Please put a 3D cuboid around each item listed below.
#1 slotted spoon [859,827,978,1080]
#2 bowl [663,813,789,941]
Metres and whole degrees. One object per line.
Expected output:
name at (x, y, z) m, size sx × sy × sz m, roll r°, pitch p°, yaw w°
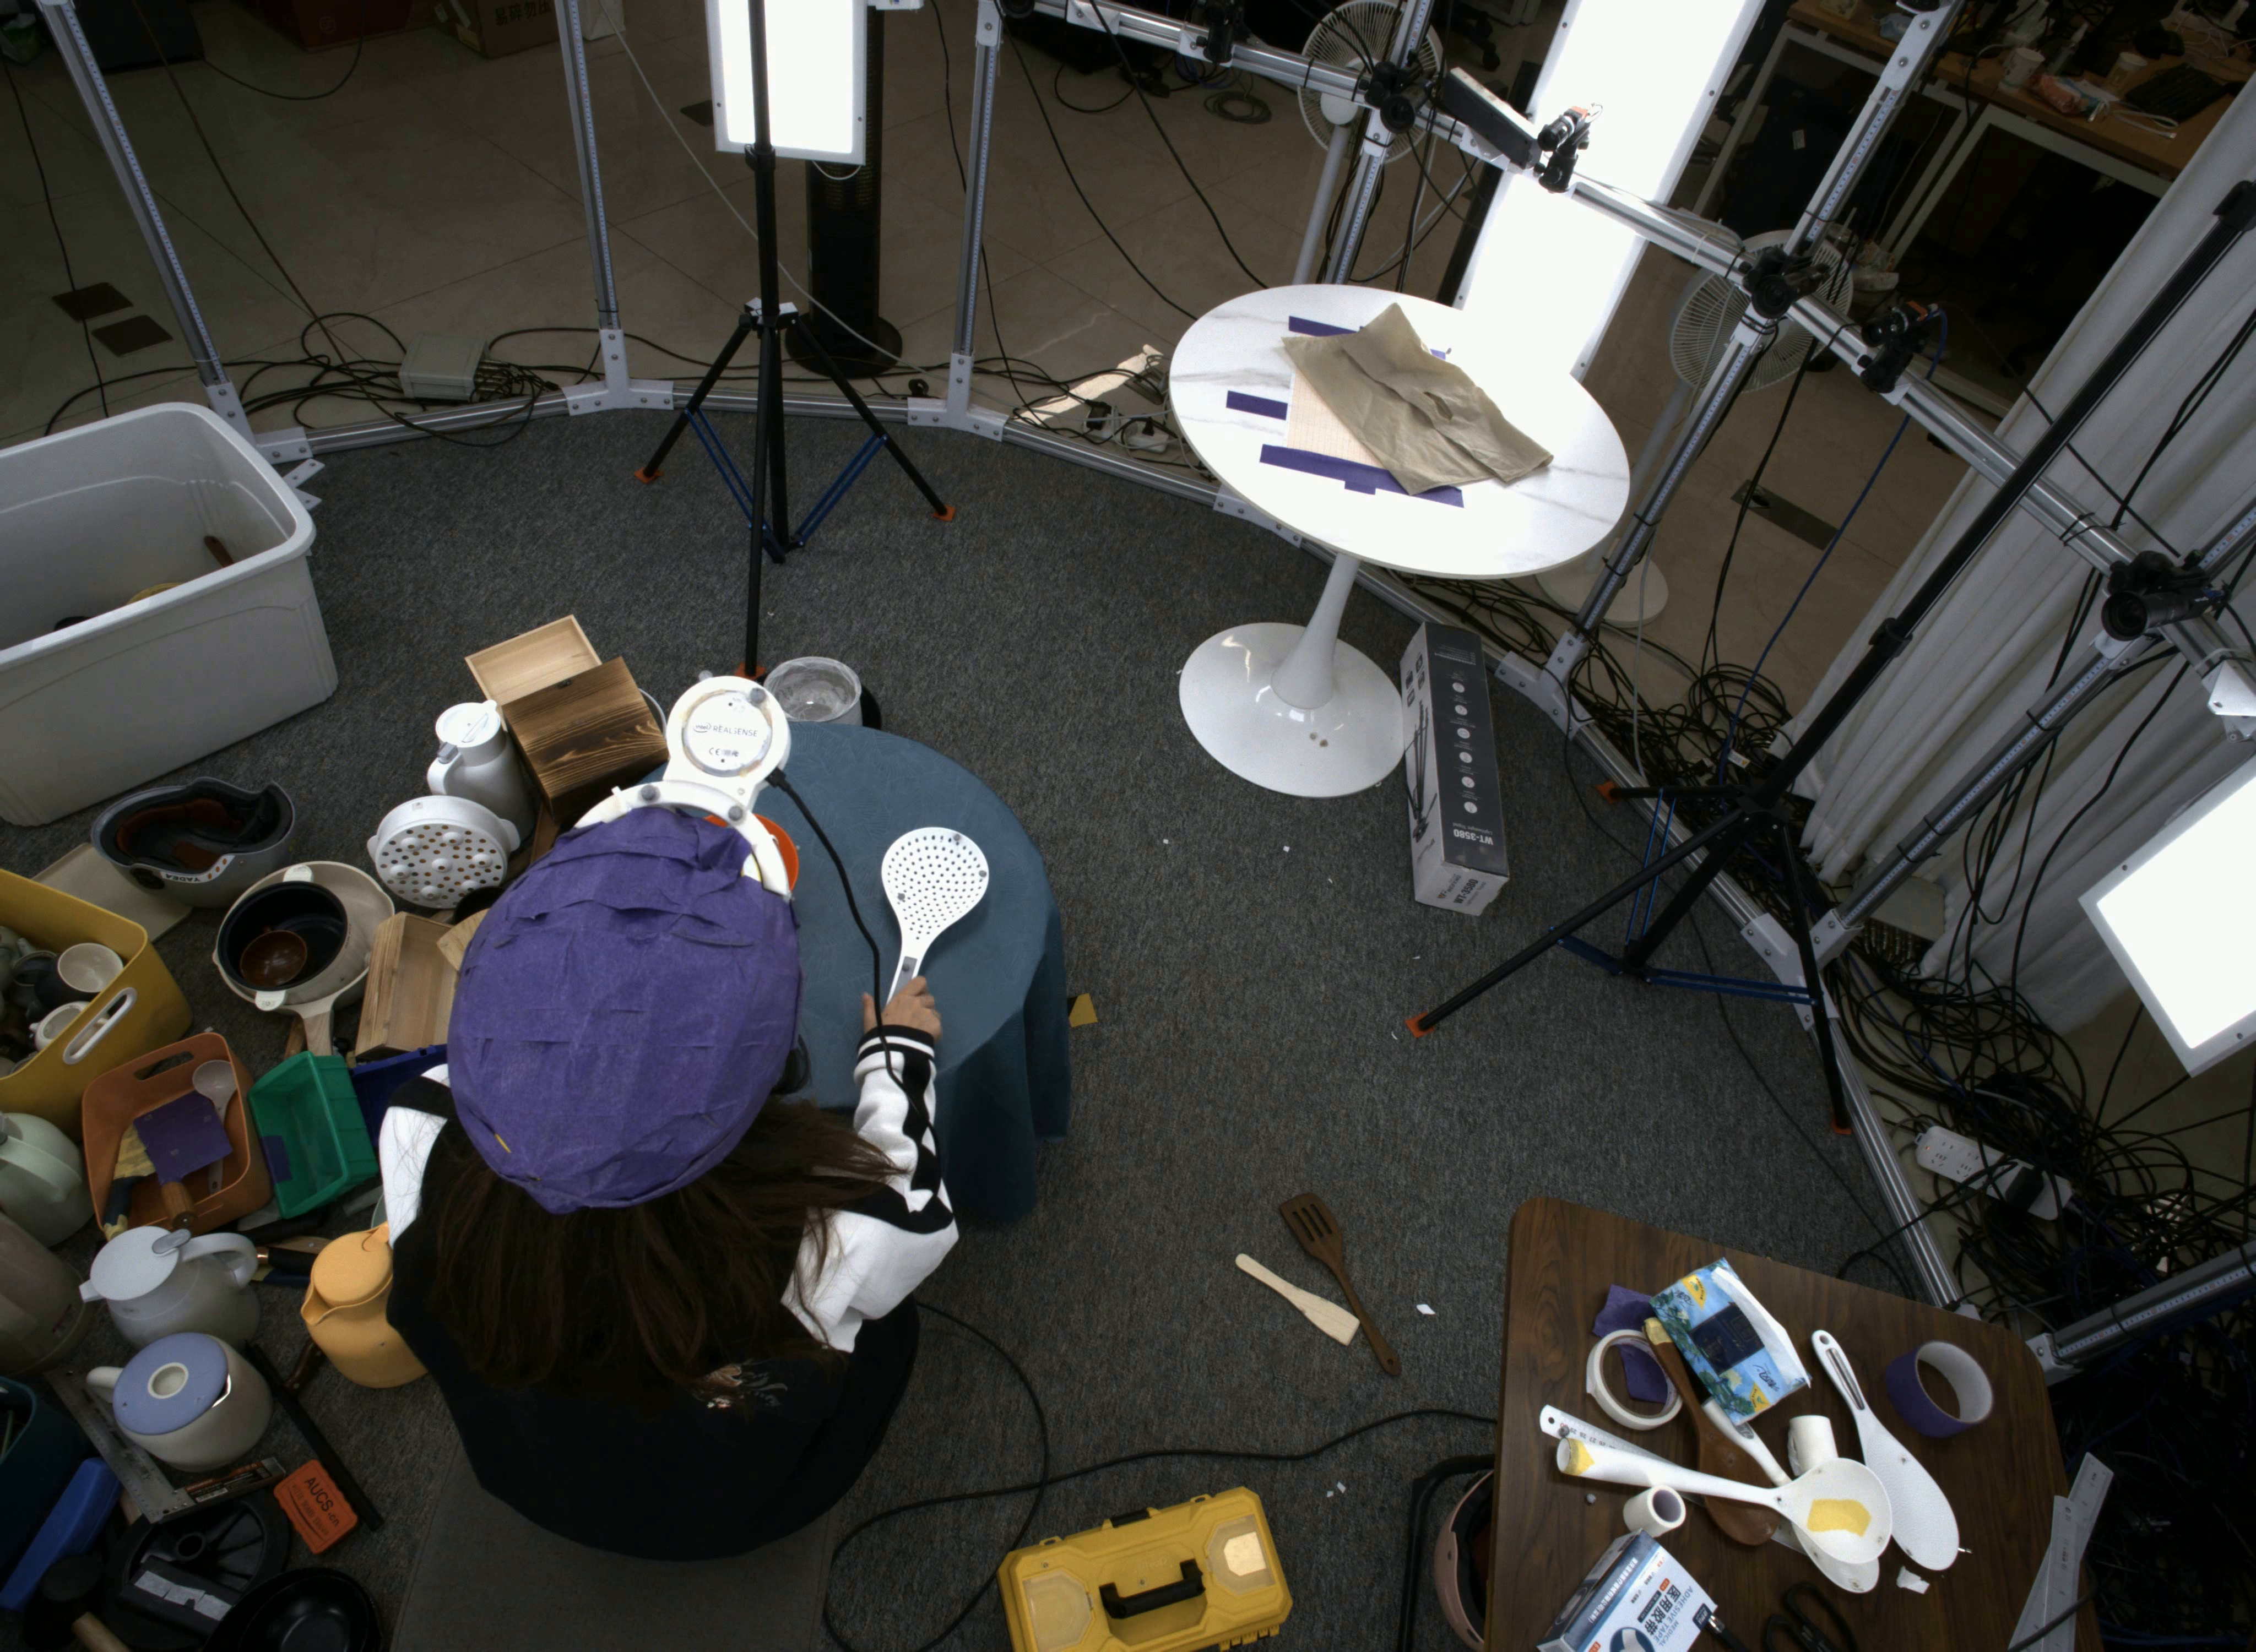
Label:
slotted spoon at (-0.276, 0.150, 1.616) m, size 0.135 × 0.046 × 0.344 m, roll 14°, pitch 52°, yaw -5°
bowl at (-0.490, 0.073, 1.582) m, size 0.148 × 0.106 × 0.145 m, roll 9°, pitch 52°, yaw -9°
